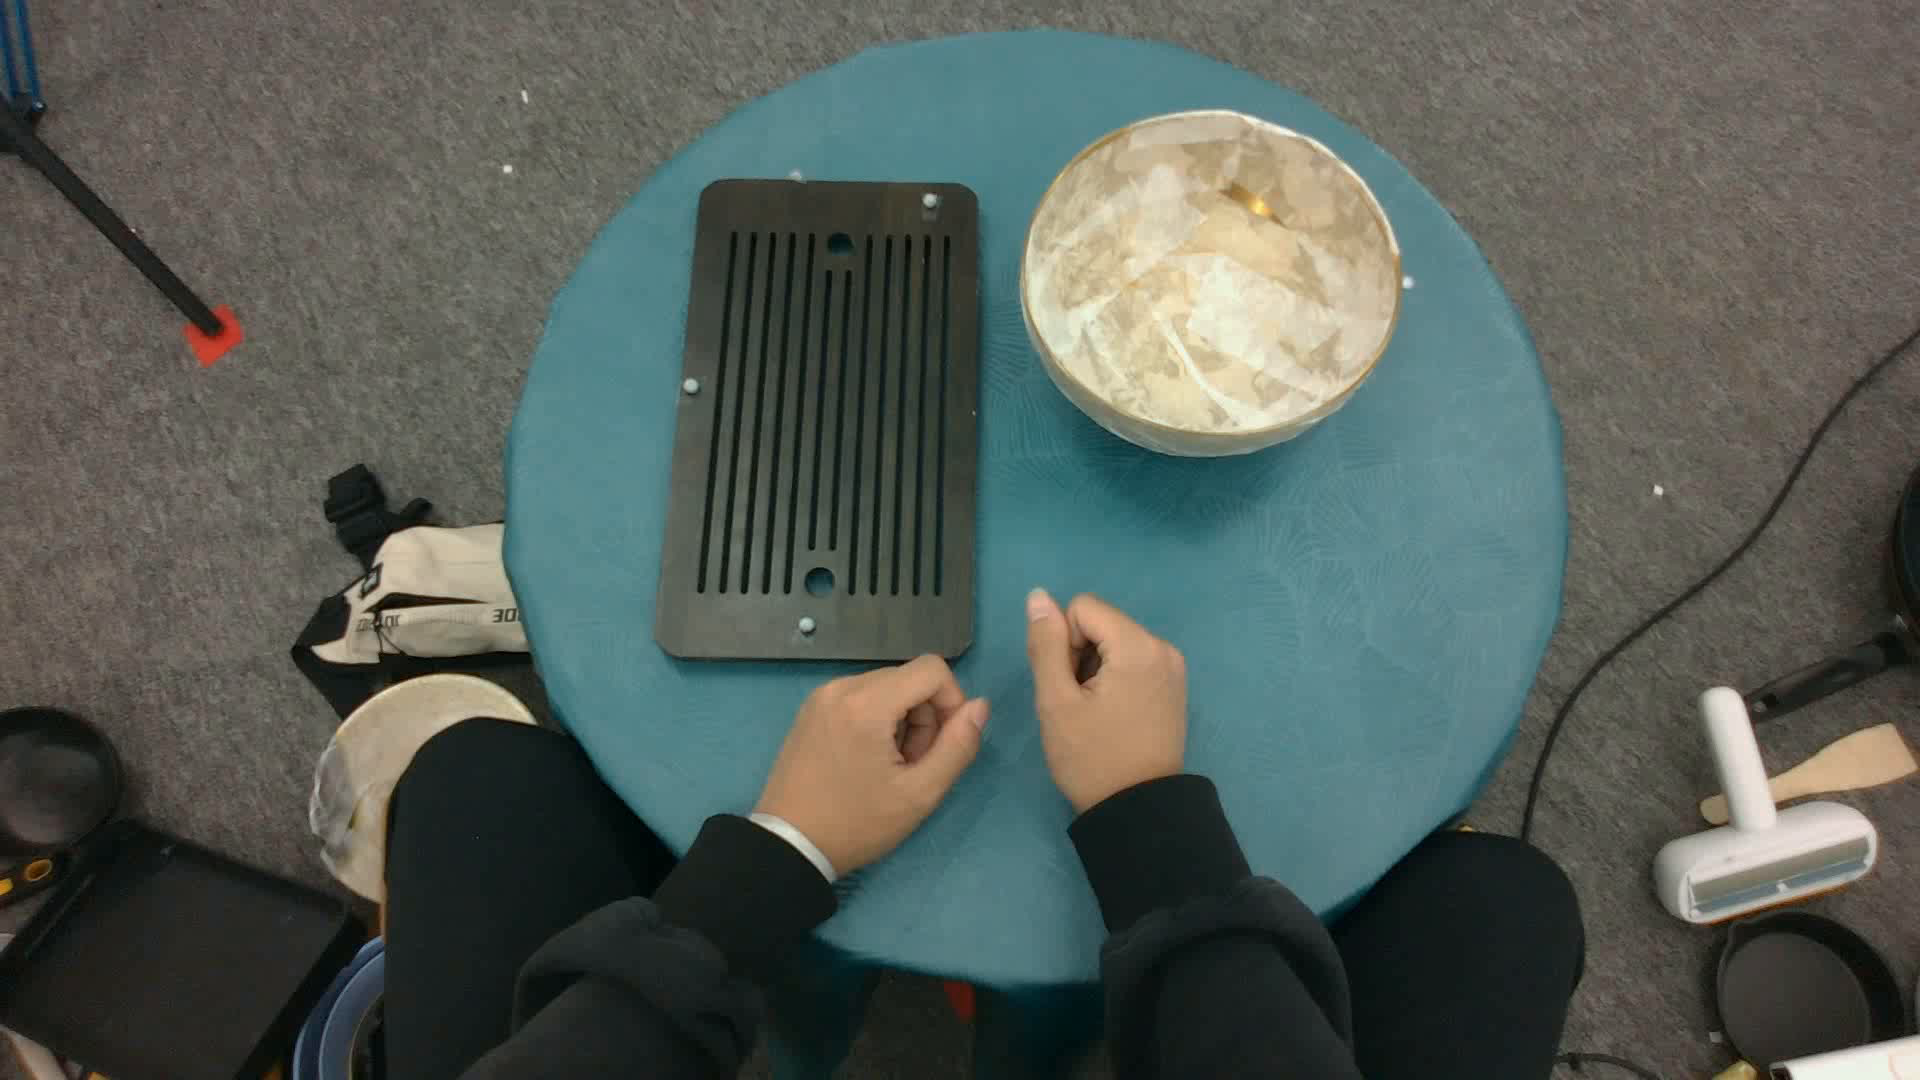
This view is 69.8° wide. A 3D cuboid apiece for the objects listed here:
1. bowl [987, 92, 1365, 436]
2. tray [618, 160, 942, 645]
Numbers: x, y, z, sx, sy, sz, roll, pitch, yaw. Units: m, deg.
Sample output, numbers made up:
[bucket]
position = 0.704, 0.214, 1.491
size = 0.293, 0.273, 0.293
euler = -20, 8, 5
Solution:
[bowl]
position = 0.111, -0.138, 0.769
size = 0.215, 0.094, 0.215
euler = 1, 68, -2
[tray]
position = -0.096, -0.086, 0.783
size = 0.170, 0.018, 0.307
euler = 0, 68, -1
